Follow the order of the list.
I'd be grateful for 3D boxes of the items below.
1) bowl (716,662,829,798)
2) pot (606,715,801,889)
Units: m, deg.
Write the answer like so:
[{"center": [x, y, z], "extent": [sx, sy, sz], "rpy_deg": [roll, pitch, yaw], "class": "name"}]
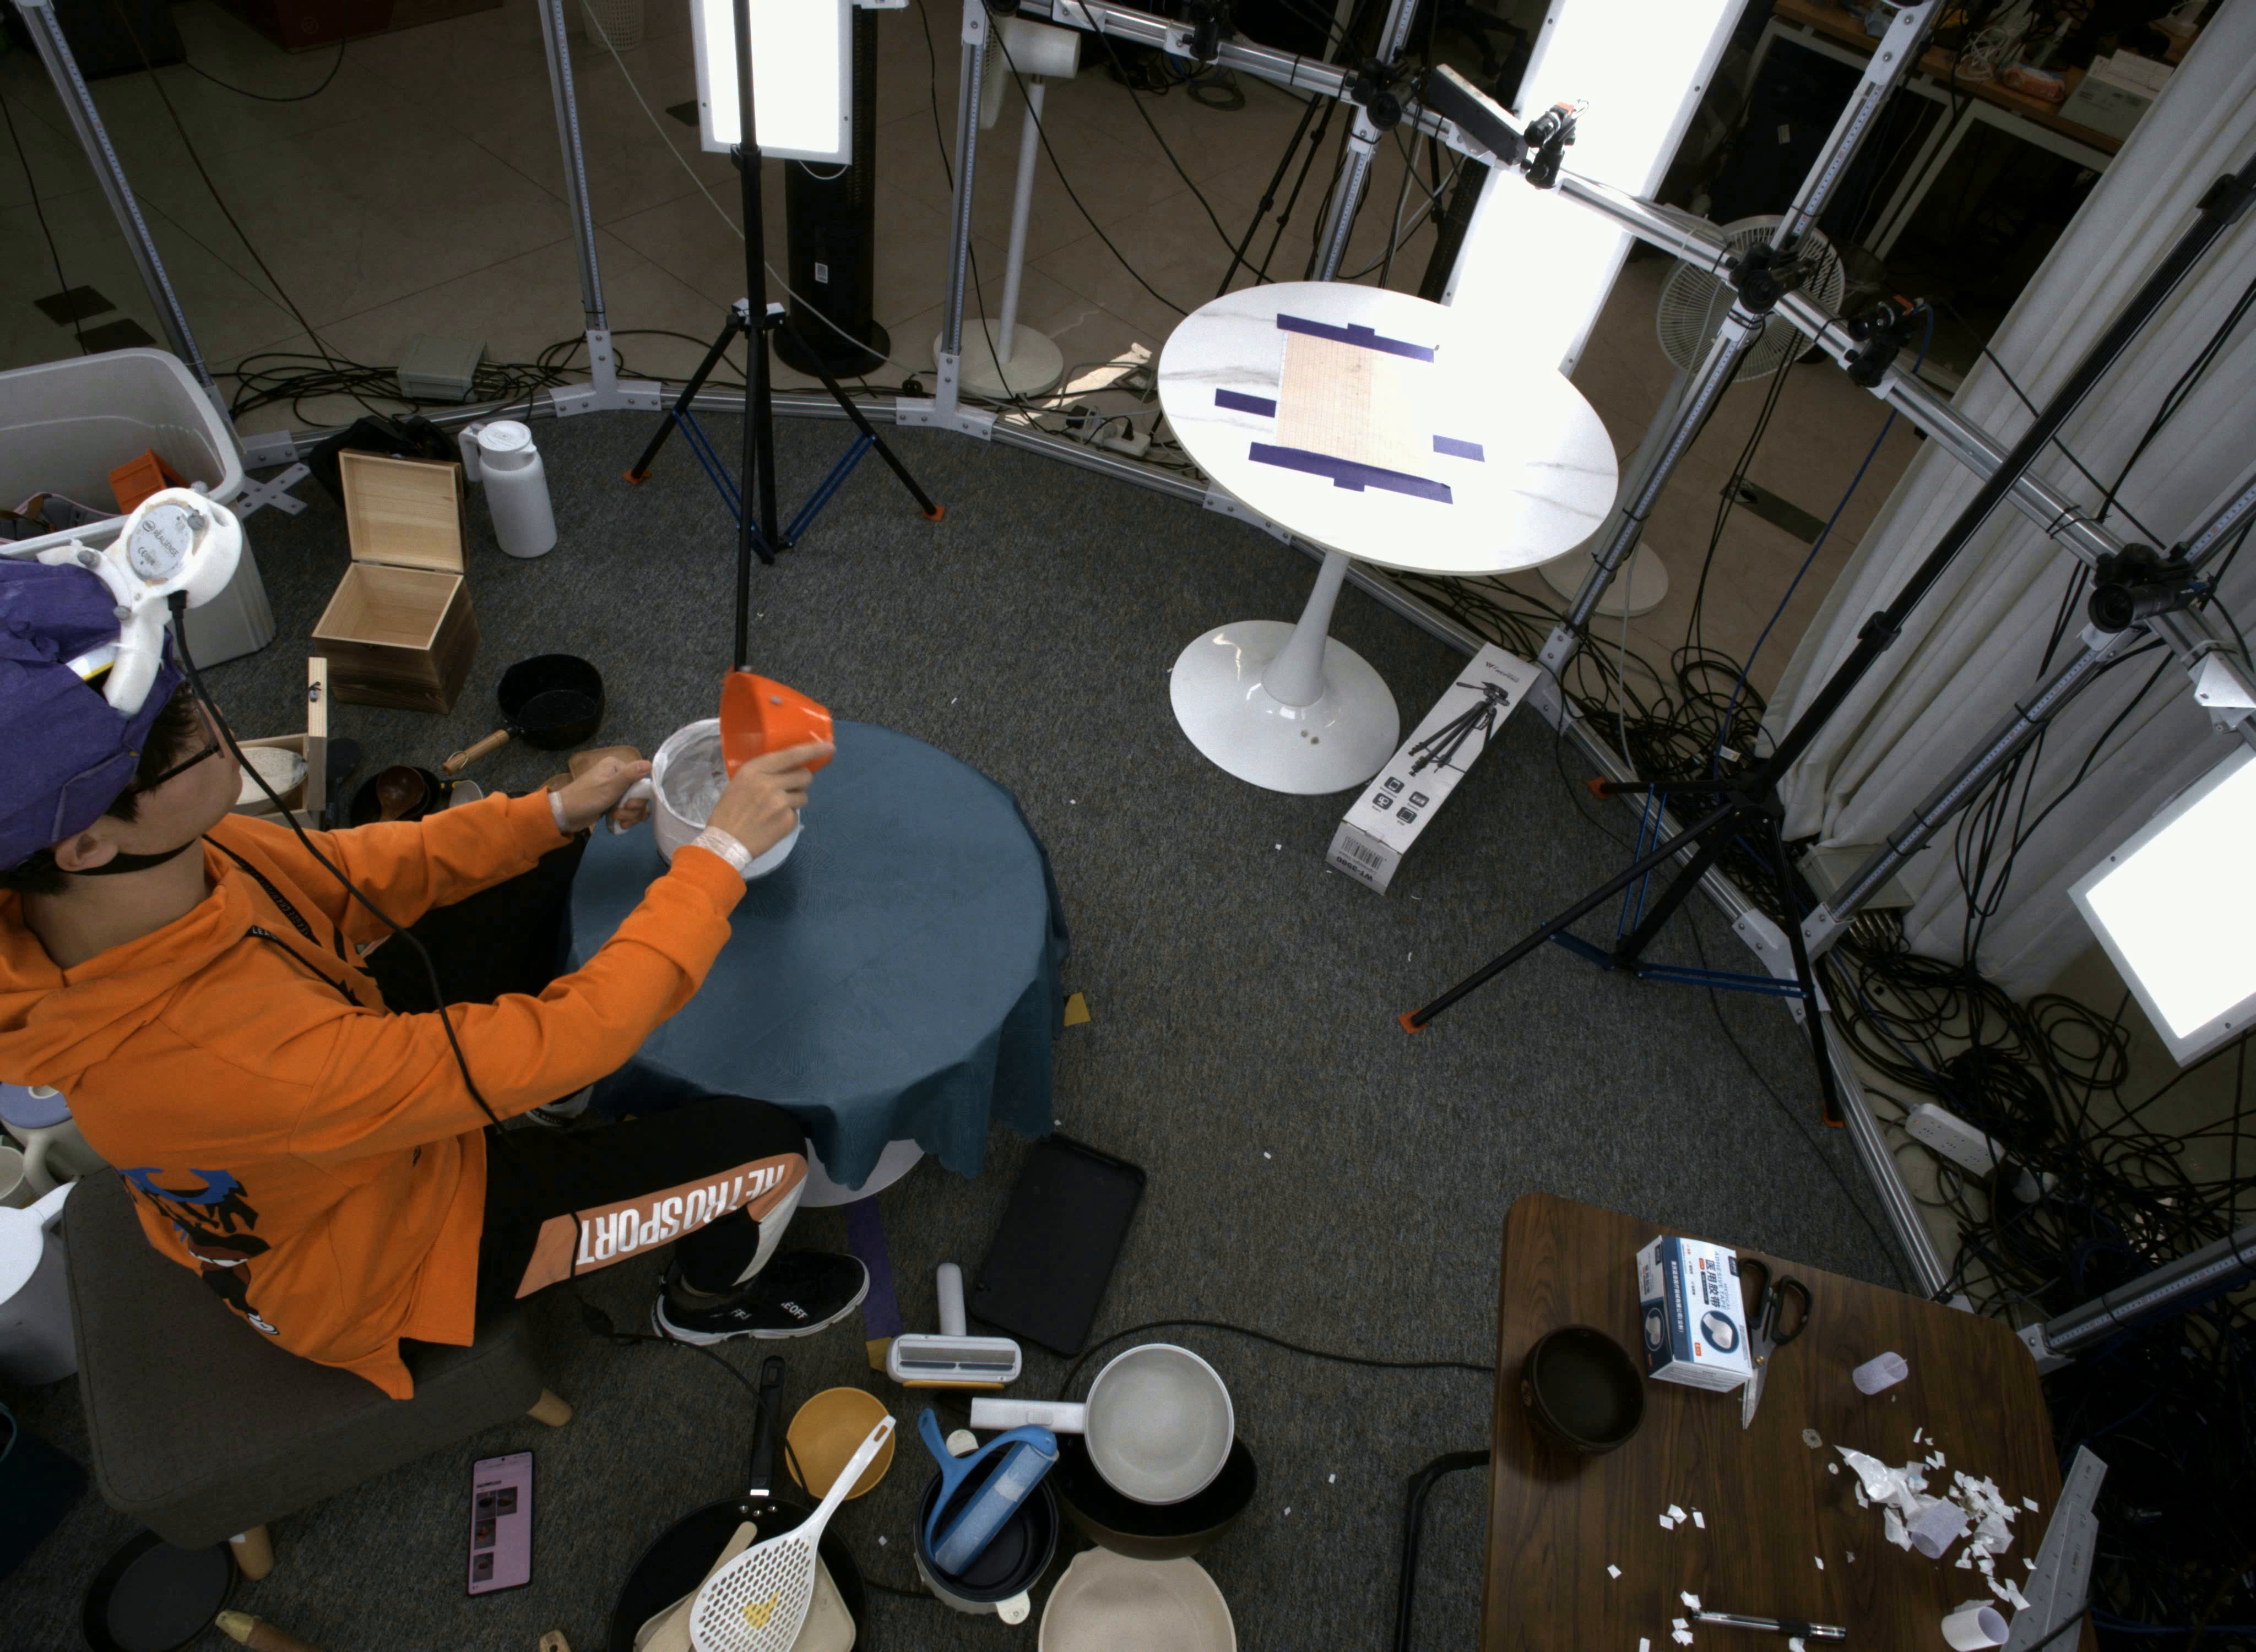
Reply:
[{"center": [-0.394, -0.110, 1.439], "extent": [0.105, 0.150, 0.144], "rpy_deg": [-9, 55, -25], "class": "bowl"}, {"center": [-0.516, -0.026, 1.558], "extent": [0.235, 0.139, 0.174], "rpy_deg": [1, 53, -19], "class": "pot"}]
